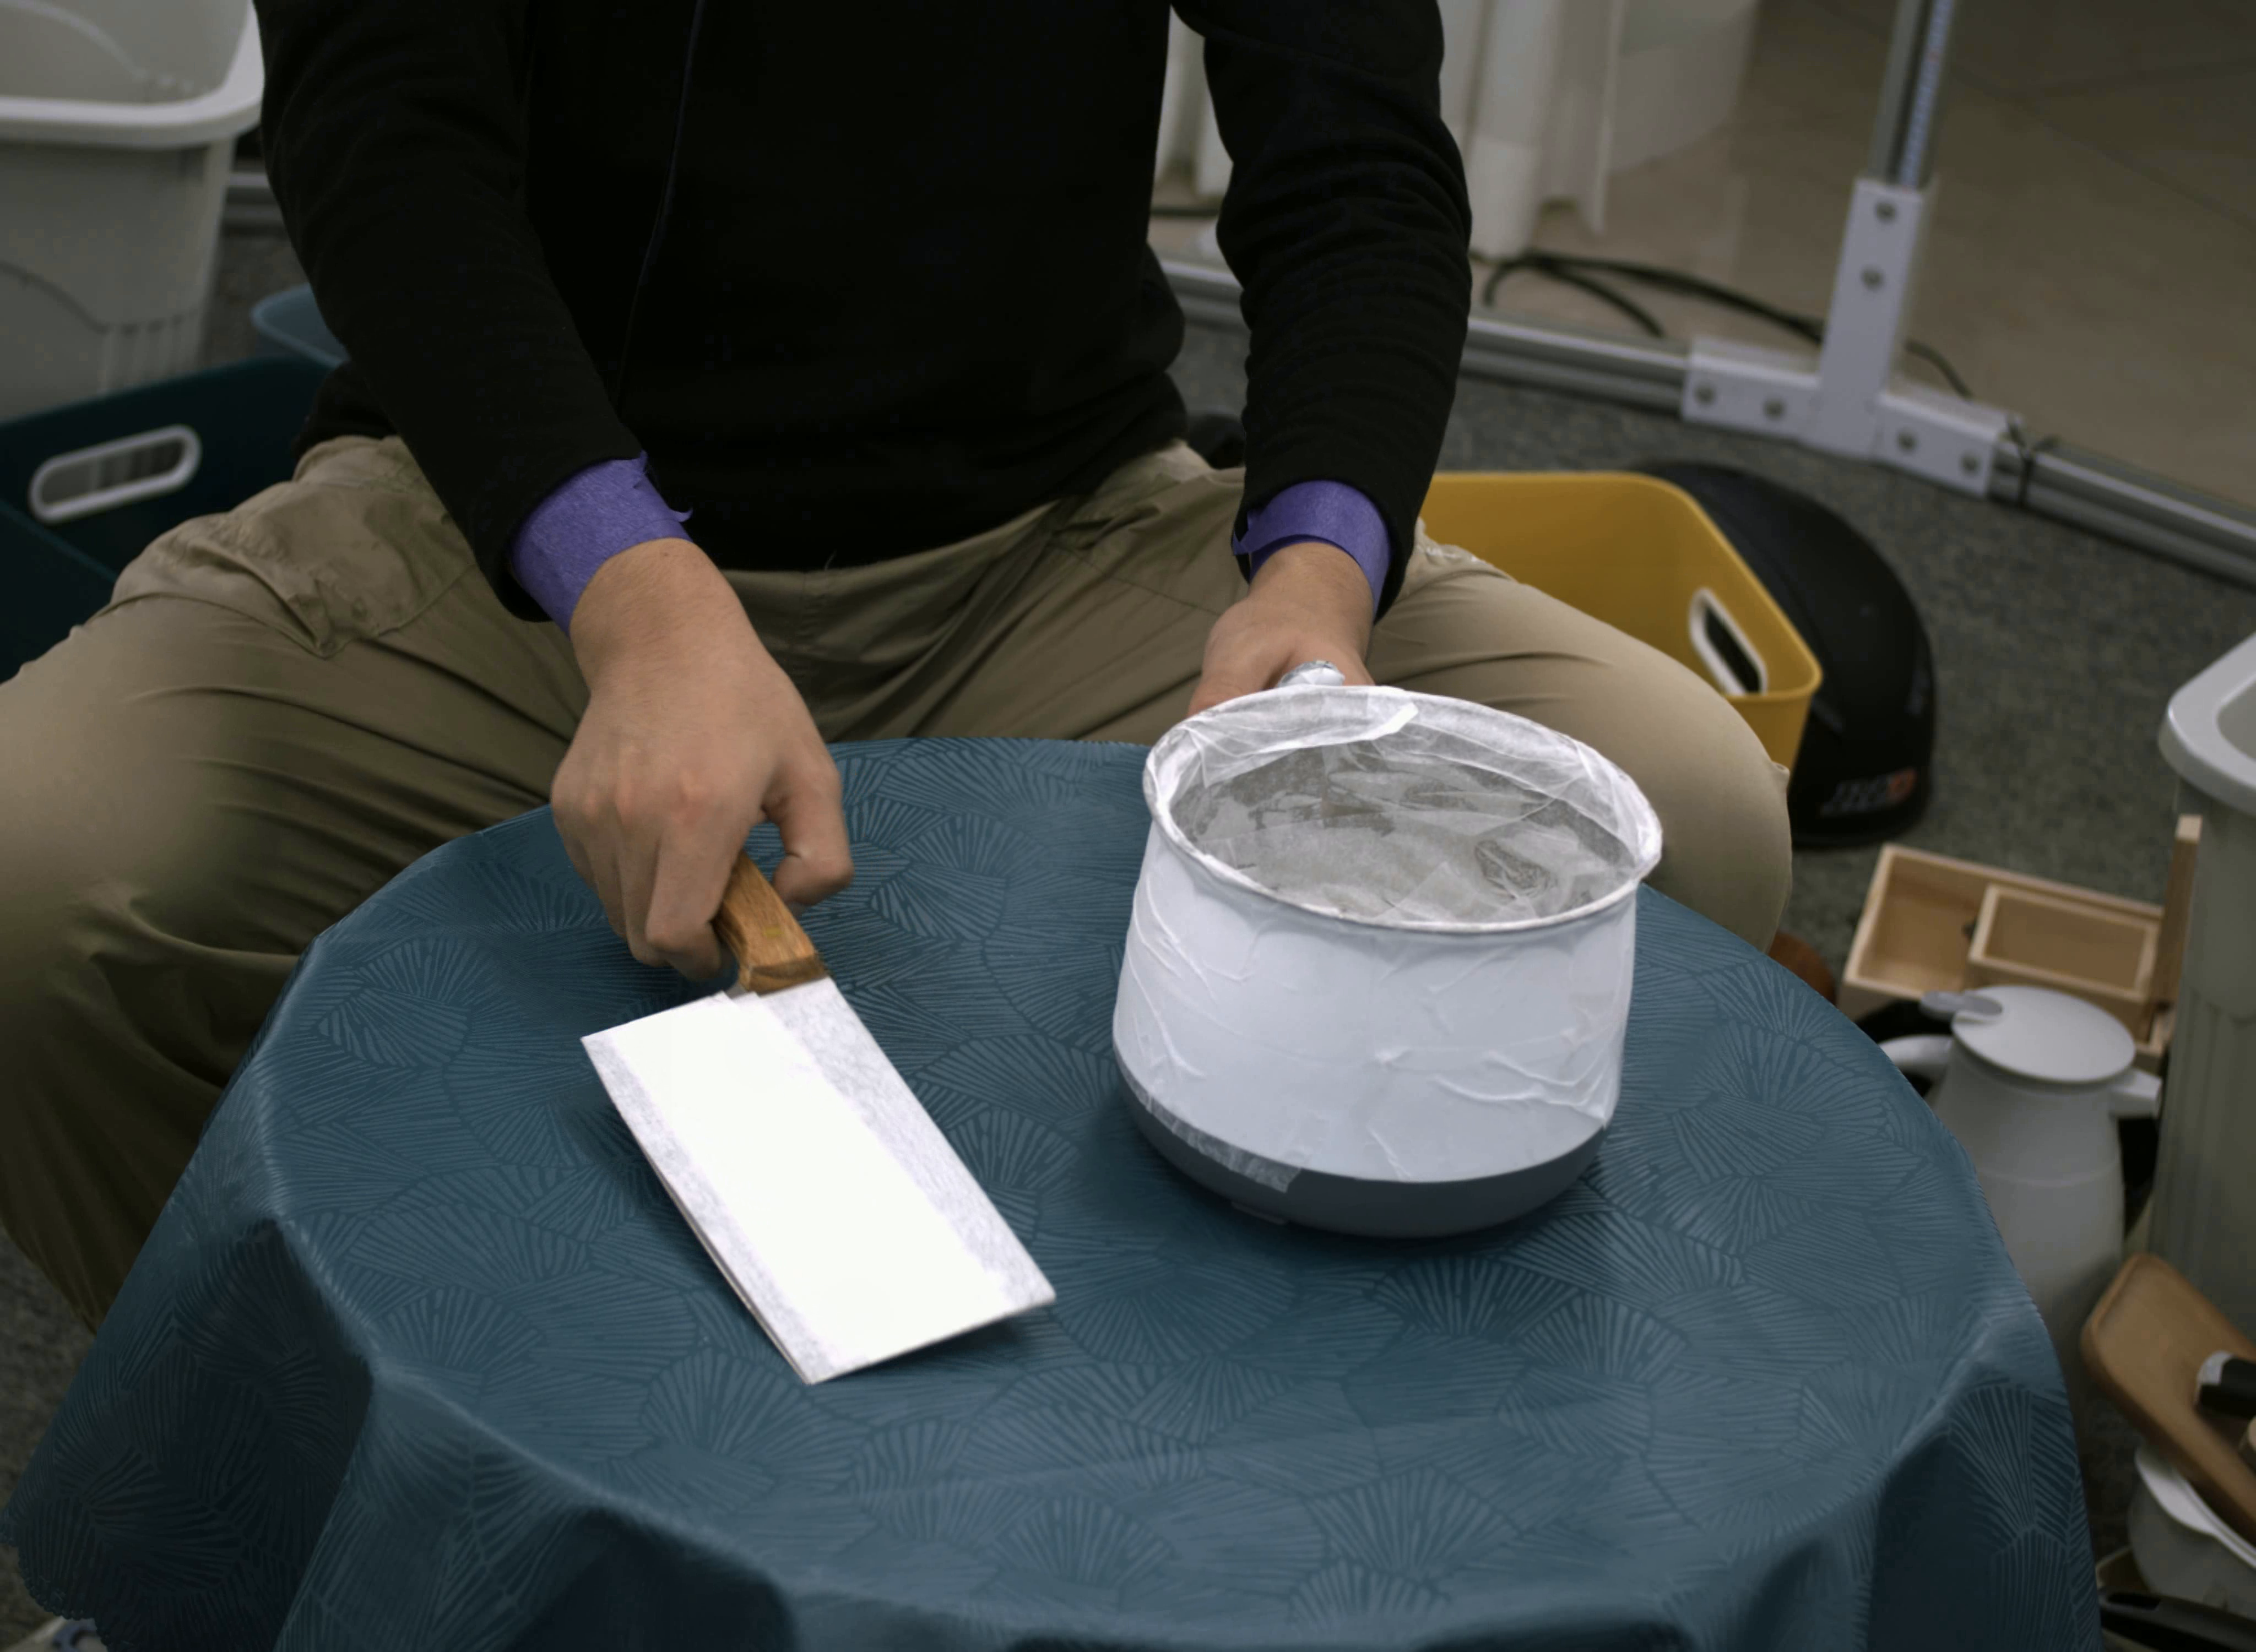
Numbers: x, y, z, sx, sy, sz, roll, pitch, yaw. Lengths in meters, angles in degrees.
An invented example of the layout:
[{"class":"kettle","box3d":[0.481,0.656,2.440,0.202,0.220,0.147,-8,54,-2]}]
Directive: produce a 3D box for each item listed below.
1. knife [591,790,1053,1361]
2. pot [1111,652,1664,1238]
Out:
[{"class":"knife","box3d":[-0.127,0.082,1.804,0.092,0.021,0.309,-14,39,-22]},{"class":"pot","box3d":[0.078,0.034,1.845,0.177,0.136,0.236,-1,29,-17]}]
